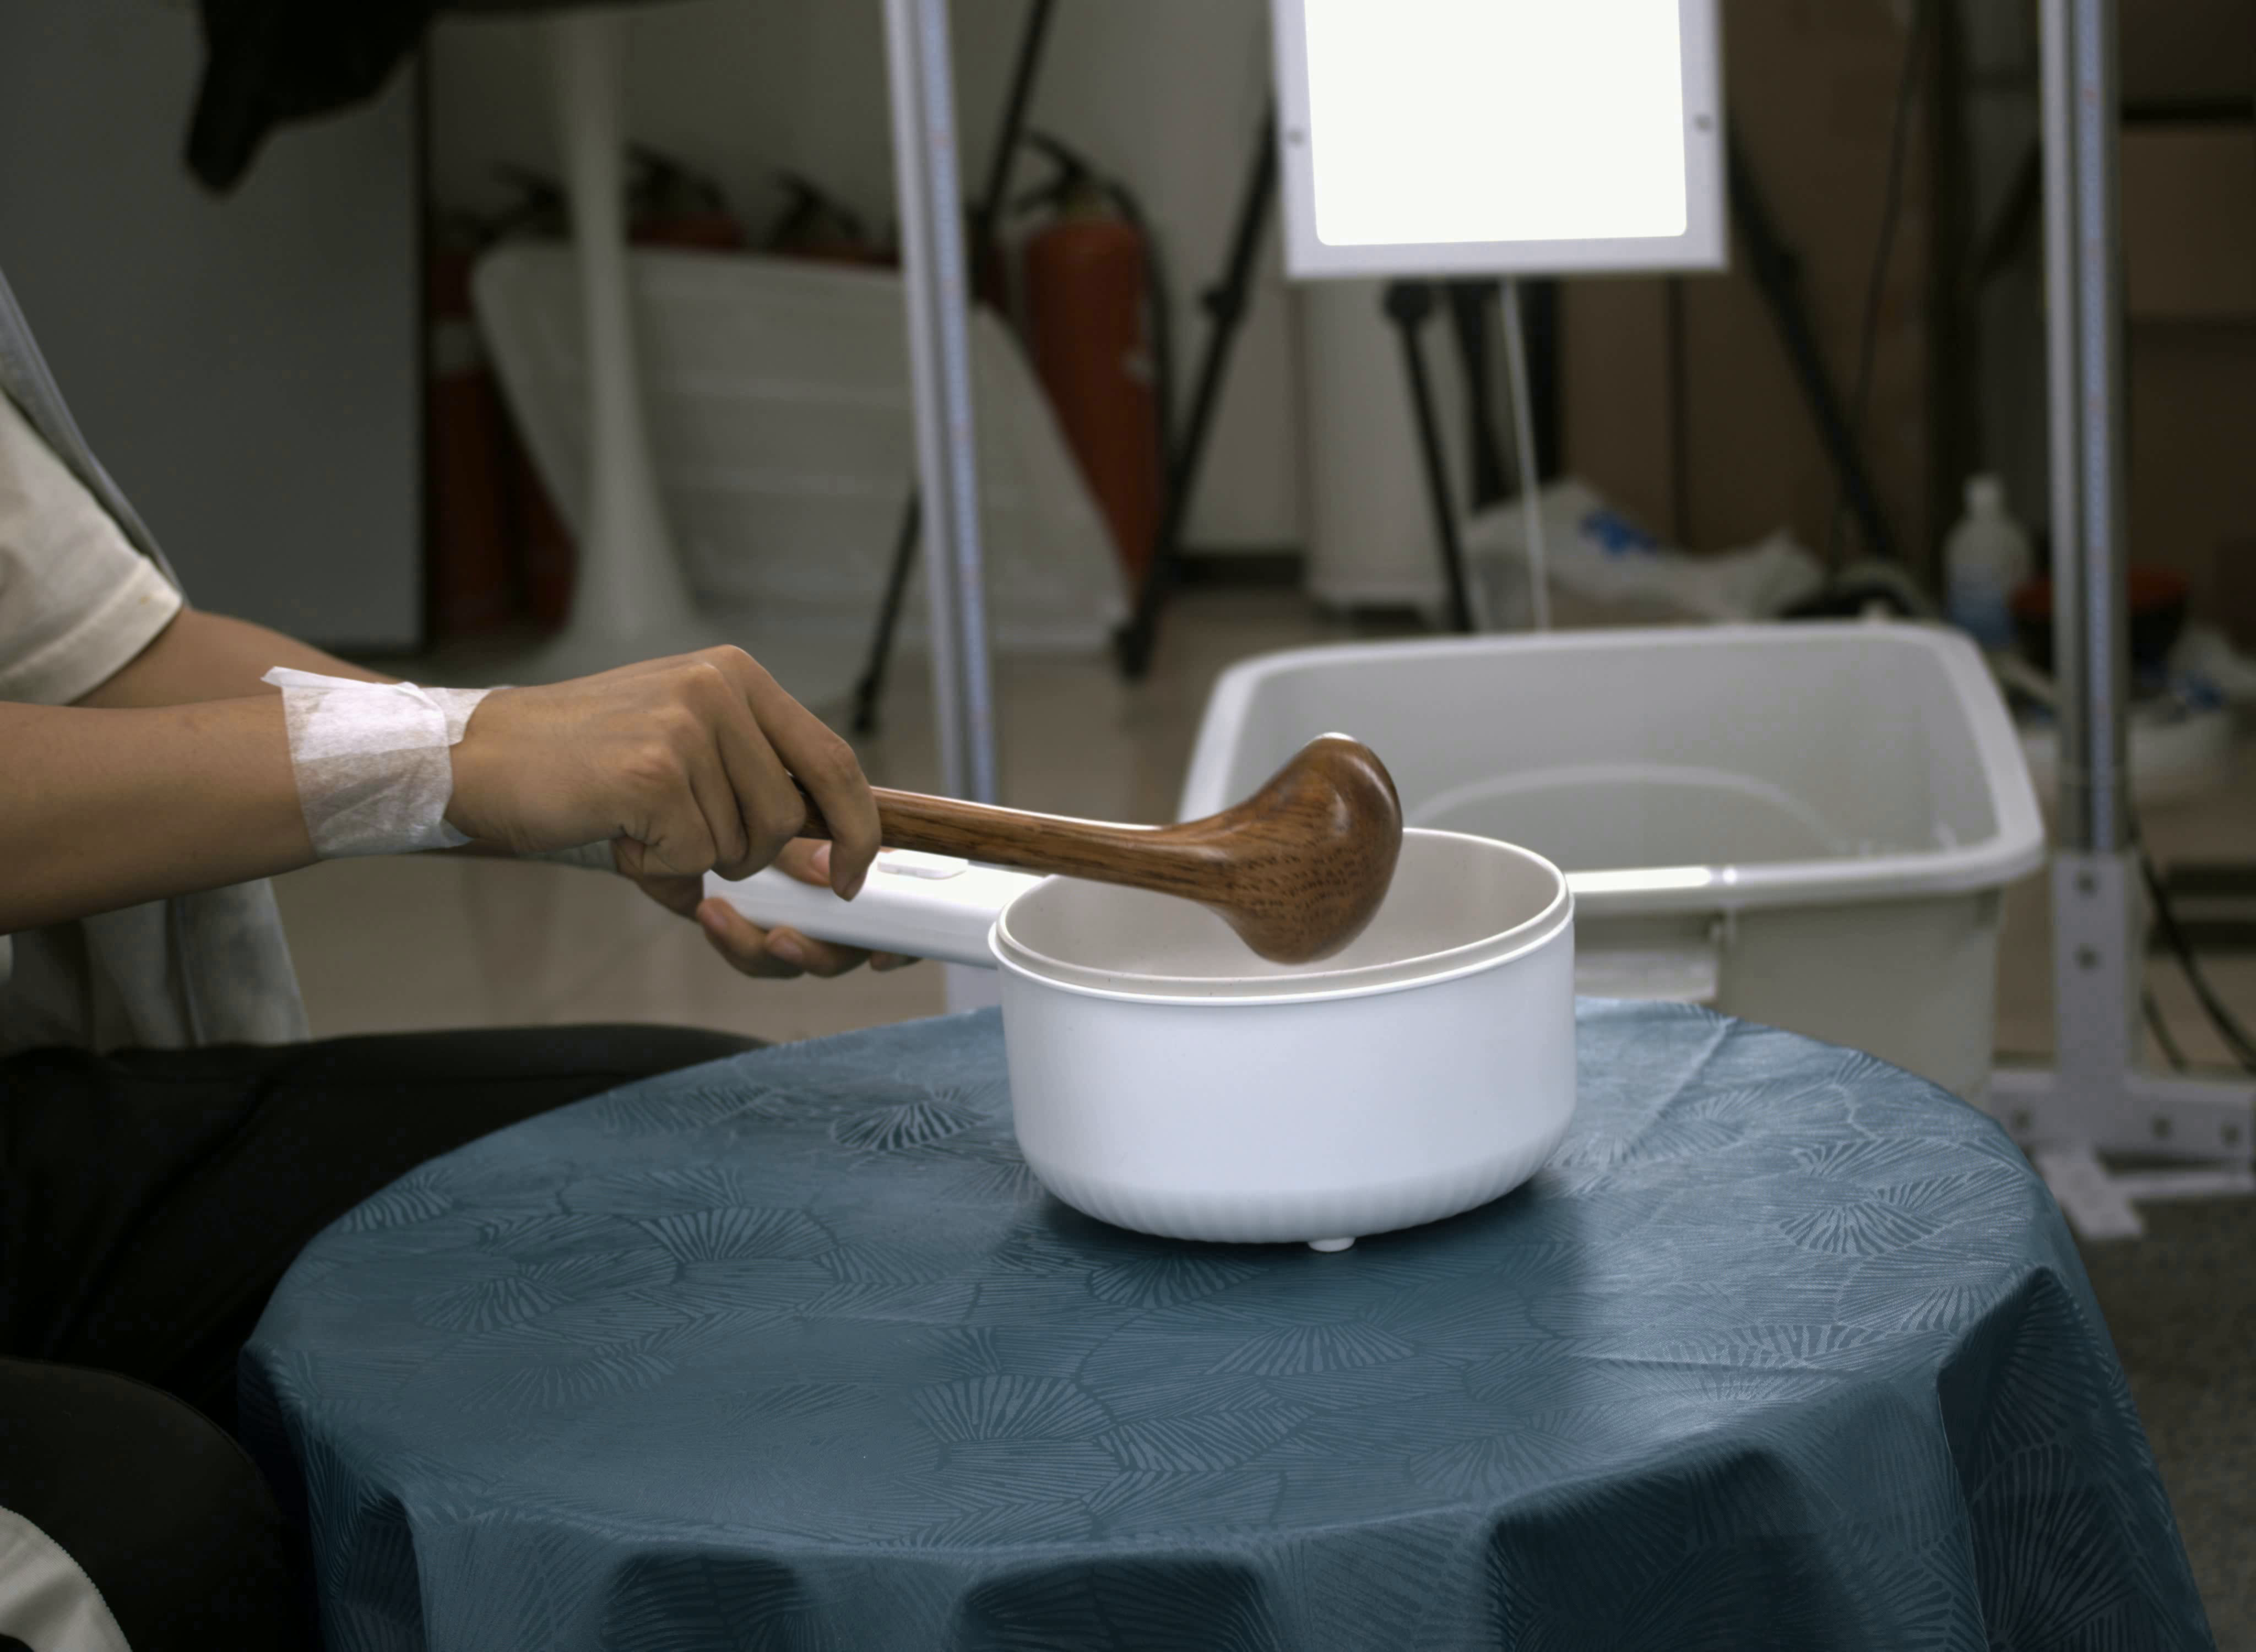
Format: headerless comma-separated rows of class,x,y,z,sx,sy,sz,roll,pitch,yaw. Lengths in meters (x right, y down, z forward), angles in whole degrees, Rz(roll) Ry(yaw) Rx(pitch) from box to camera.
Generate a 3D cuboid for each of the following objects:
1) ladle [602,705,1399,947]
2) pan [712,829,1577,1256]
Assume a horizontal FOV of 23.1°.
ladle,-0.040,-0.006,1.831,0.271,0.082,0.077,4,10,-7
pan,-0.004,0.068,1.929,0.362,0.102,0.196,6,19,40
